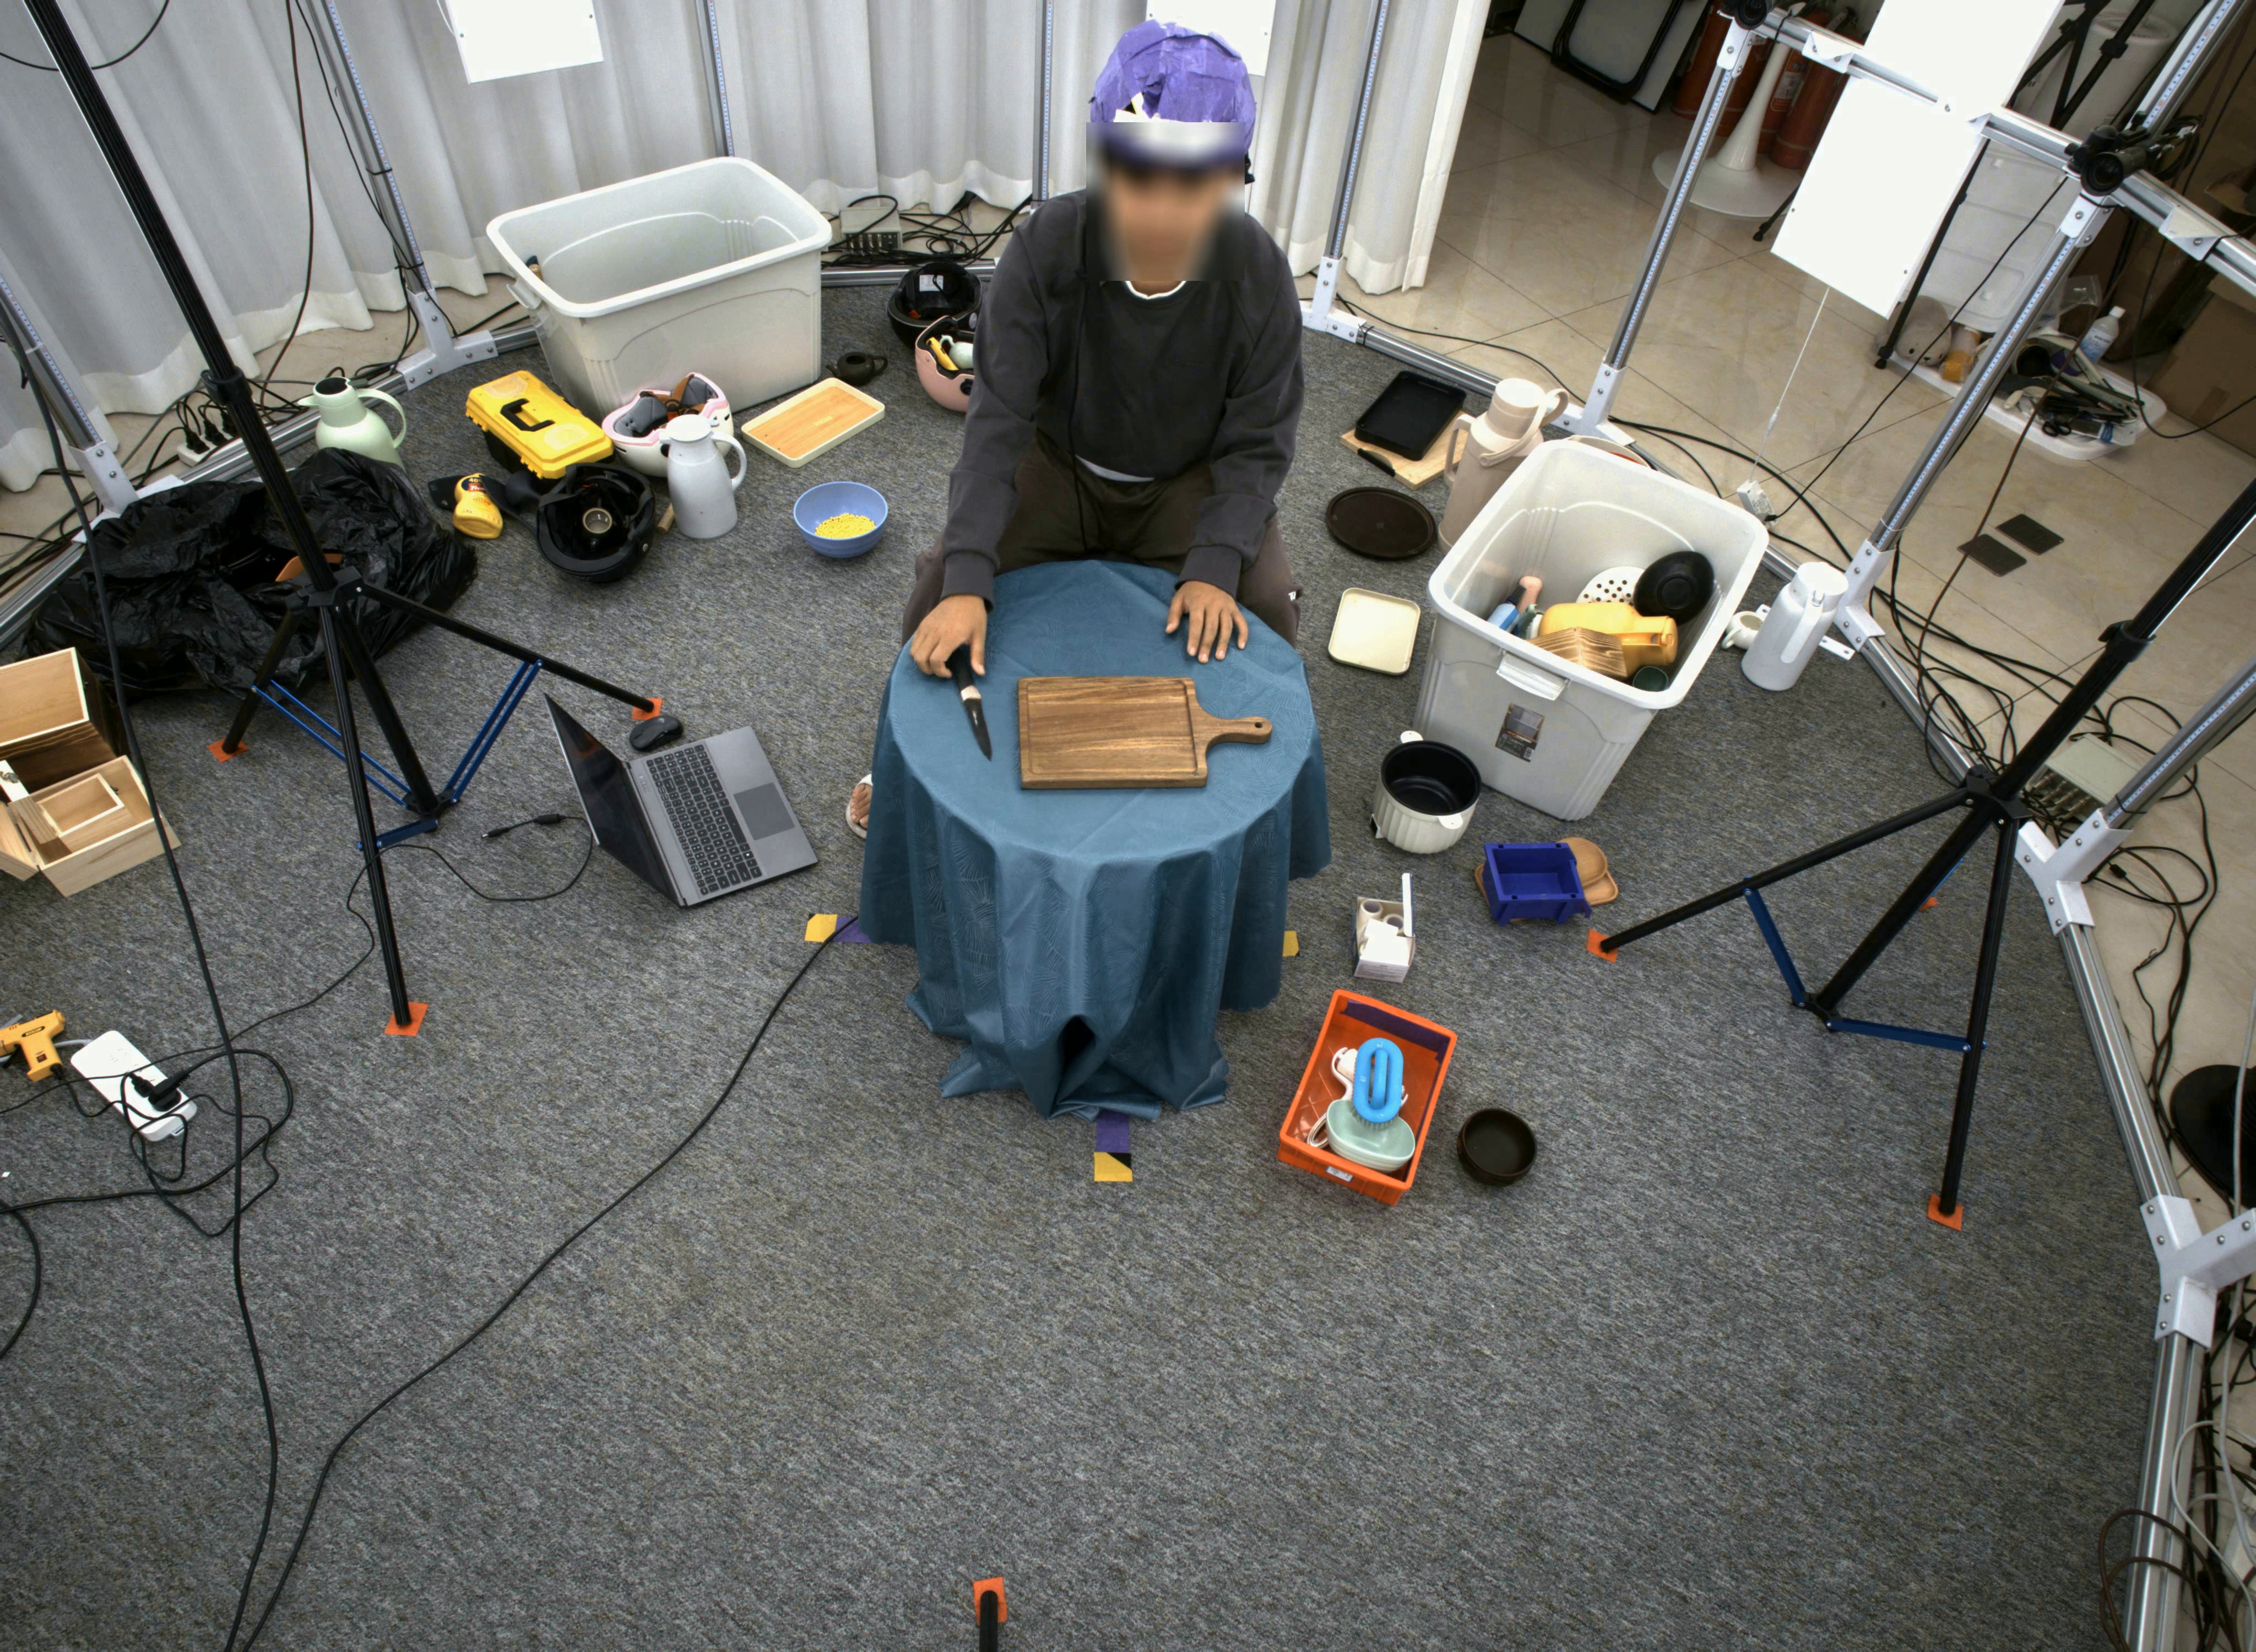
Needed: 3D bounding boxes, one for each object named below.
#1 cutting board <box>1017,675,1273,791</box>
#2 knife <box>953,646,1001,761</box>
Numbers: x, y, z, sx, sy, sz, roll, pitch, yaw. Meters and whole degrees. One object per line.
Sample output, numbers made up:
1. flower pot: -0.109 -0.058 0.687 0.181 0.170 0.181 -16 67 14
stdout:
1. cutting board: 0.026 -0.132 1.768 0.351 0.022 0.206 -1 49 -5
2. knife: -0.212 -0.173 1.793 0.026 0.017 0.231 -7 50 -19
